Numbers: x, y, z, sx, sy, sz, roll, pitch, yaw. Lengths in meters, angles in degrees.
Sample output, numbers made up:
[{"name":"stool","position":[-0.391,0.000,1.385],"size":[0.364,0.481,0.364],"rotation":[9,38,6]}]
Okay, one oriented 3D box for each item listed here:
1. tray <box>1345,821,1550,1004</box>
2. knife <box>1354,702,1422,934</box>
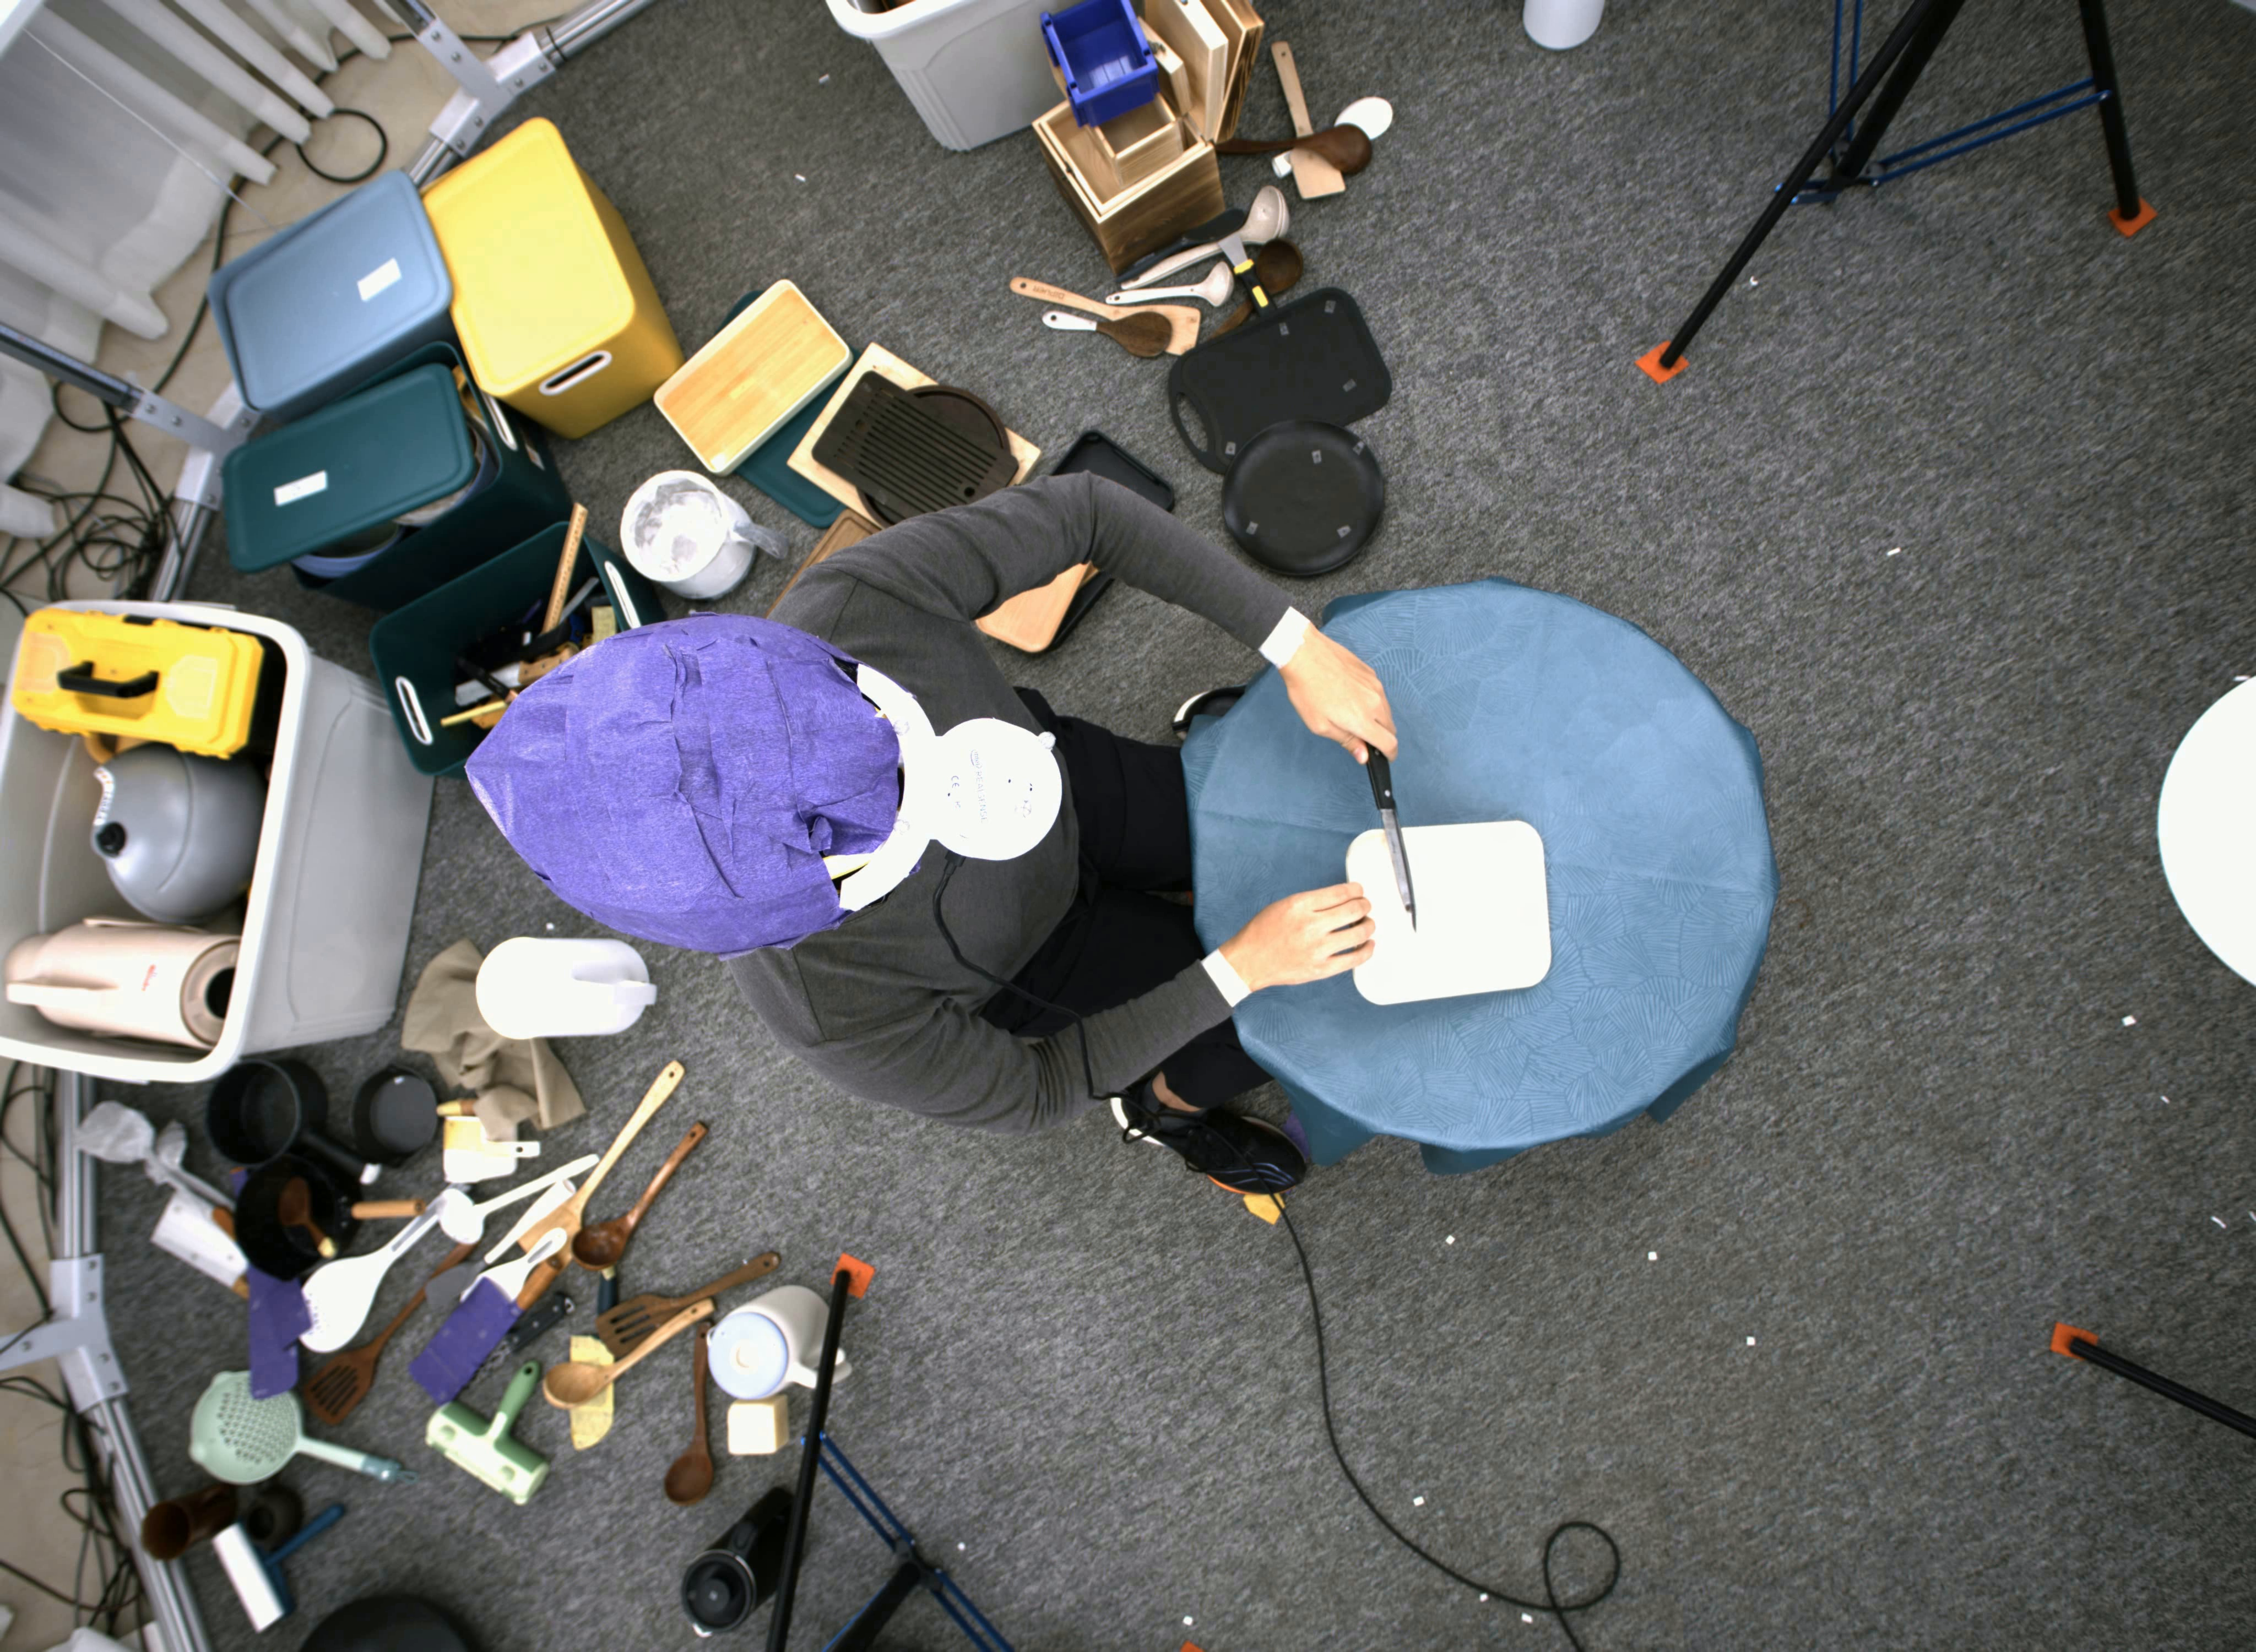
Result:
[{"name":"tray","position":[0.320,0.082,1.377],"size":[0.238,0.017,0.171],"rotation":[-4,92,-23]},{"name":"knife","position":[0.255,-0.011,1.344],"size":[0.024,0.016,0.236],"rotation":[-6,78,-27]}]
